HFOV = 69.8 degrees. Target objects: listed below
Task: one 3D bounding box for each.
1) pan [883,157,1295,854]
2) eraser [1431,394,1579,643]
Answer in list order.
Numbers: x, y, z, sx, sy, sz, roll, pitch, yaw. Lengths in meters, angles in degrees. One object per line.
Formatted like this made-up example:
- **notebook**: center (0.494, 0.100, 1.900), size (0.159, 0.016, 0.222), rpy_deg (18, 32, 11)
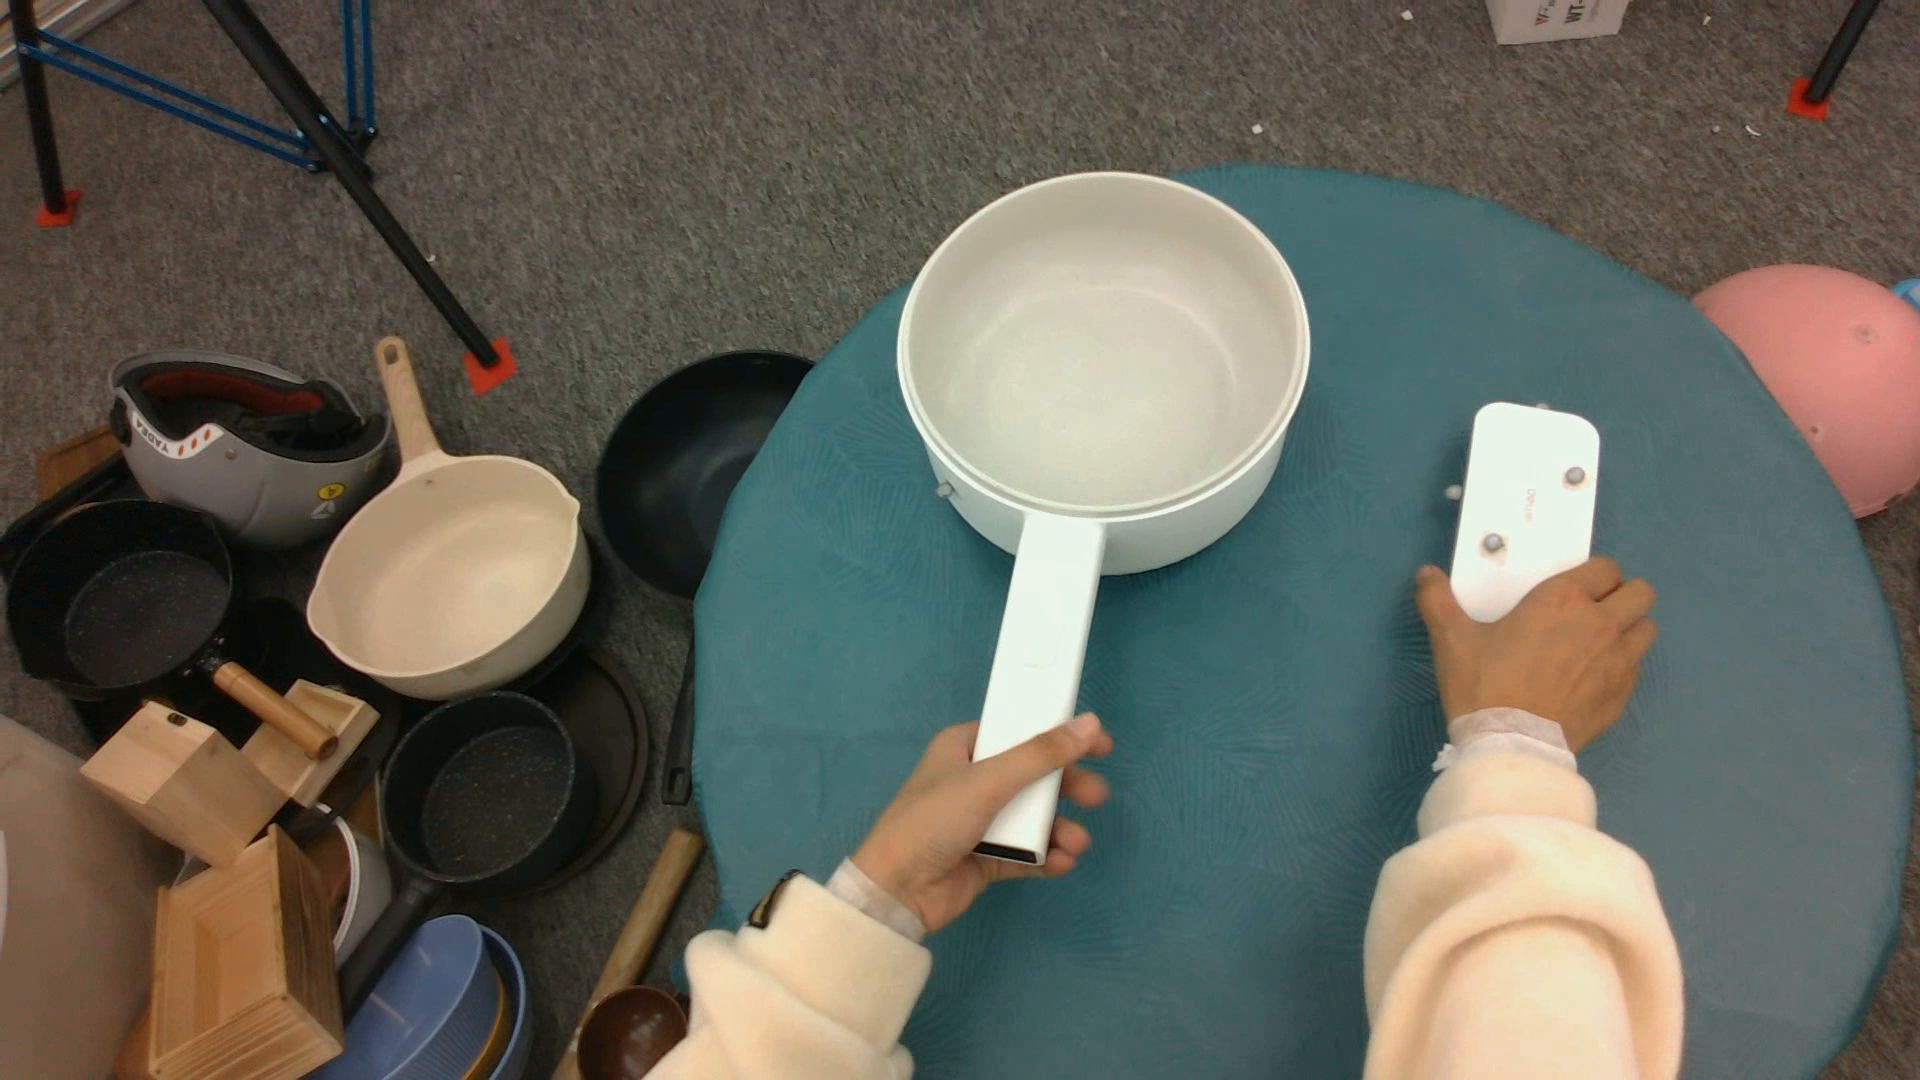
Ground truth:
- **pan**: center (0.052, -0.018, 0.685), size (0.201, 0.102, 0.356), rpy_deg (8, 68, 11)
- **eraser**: center (0.274, -0.013, 0.697), size (0.063, 0.034, 0.132), rpy_deg (11, 66, 13)
